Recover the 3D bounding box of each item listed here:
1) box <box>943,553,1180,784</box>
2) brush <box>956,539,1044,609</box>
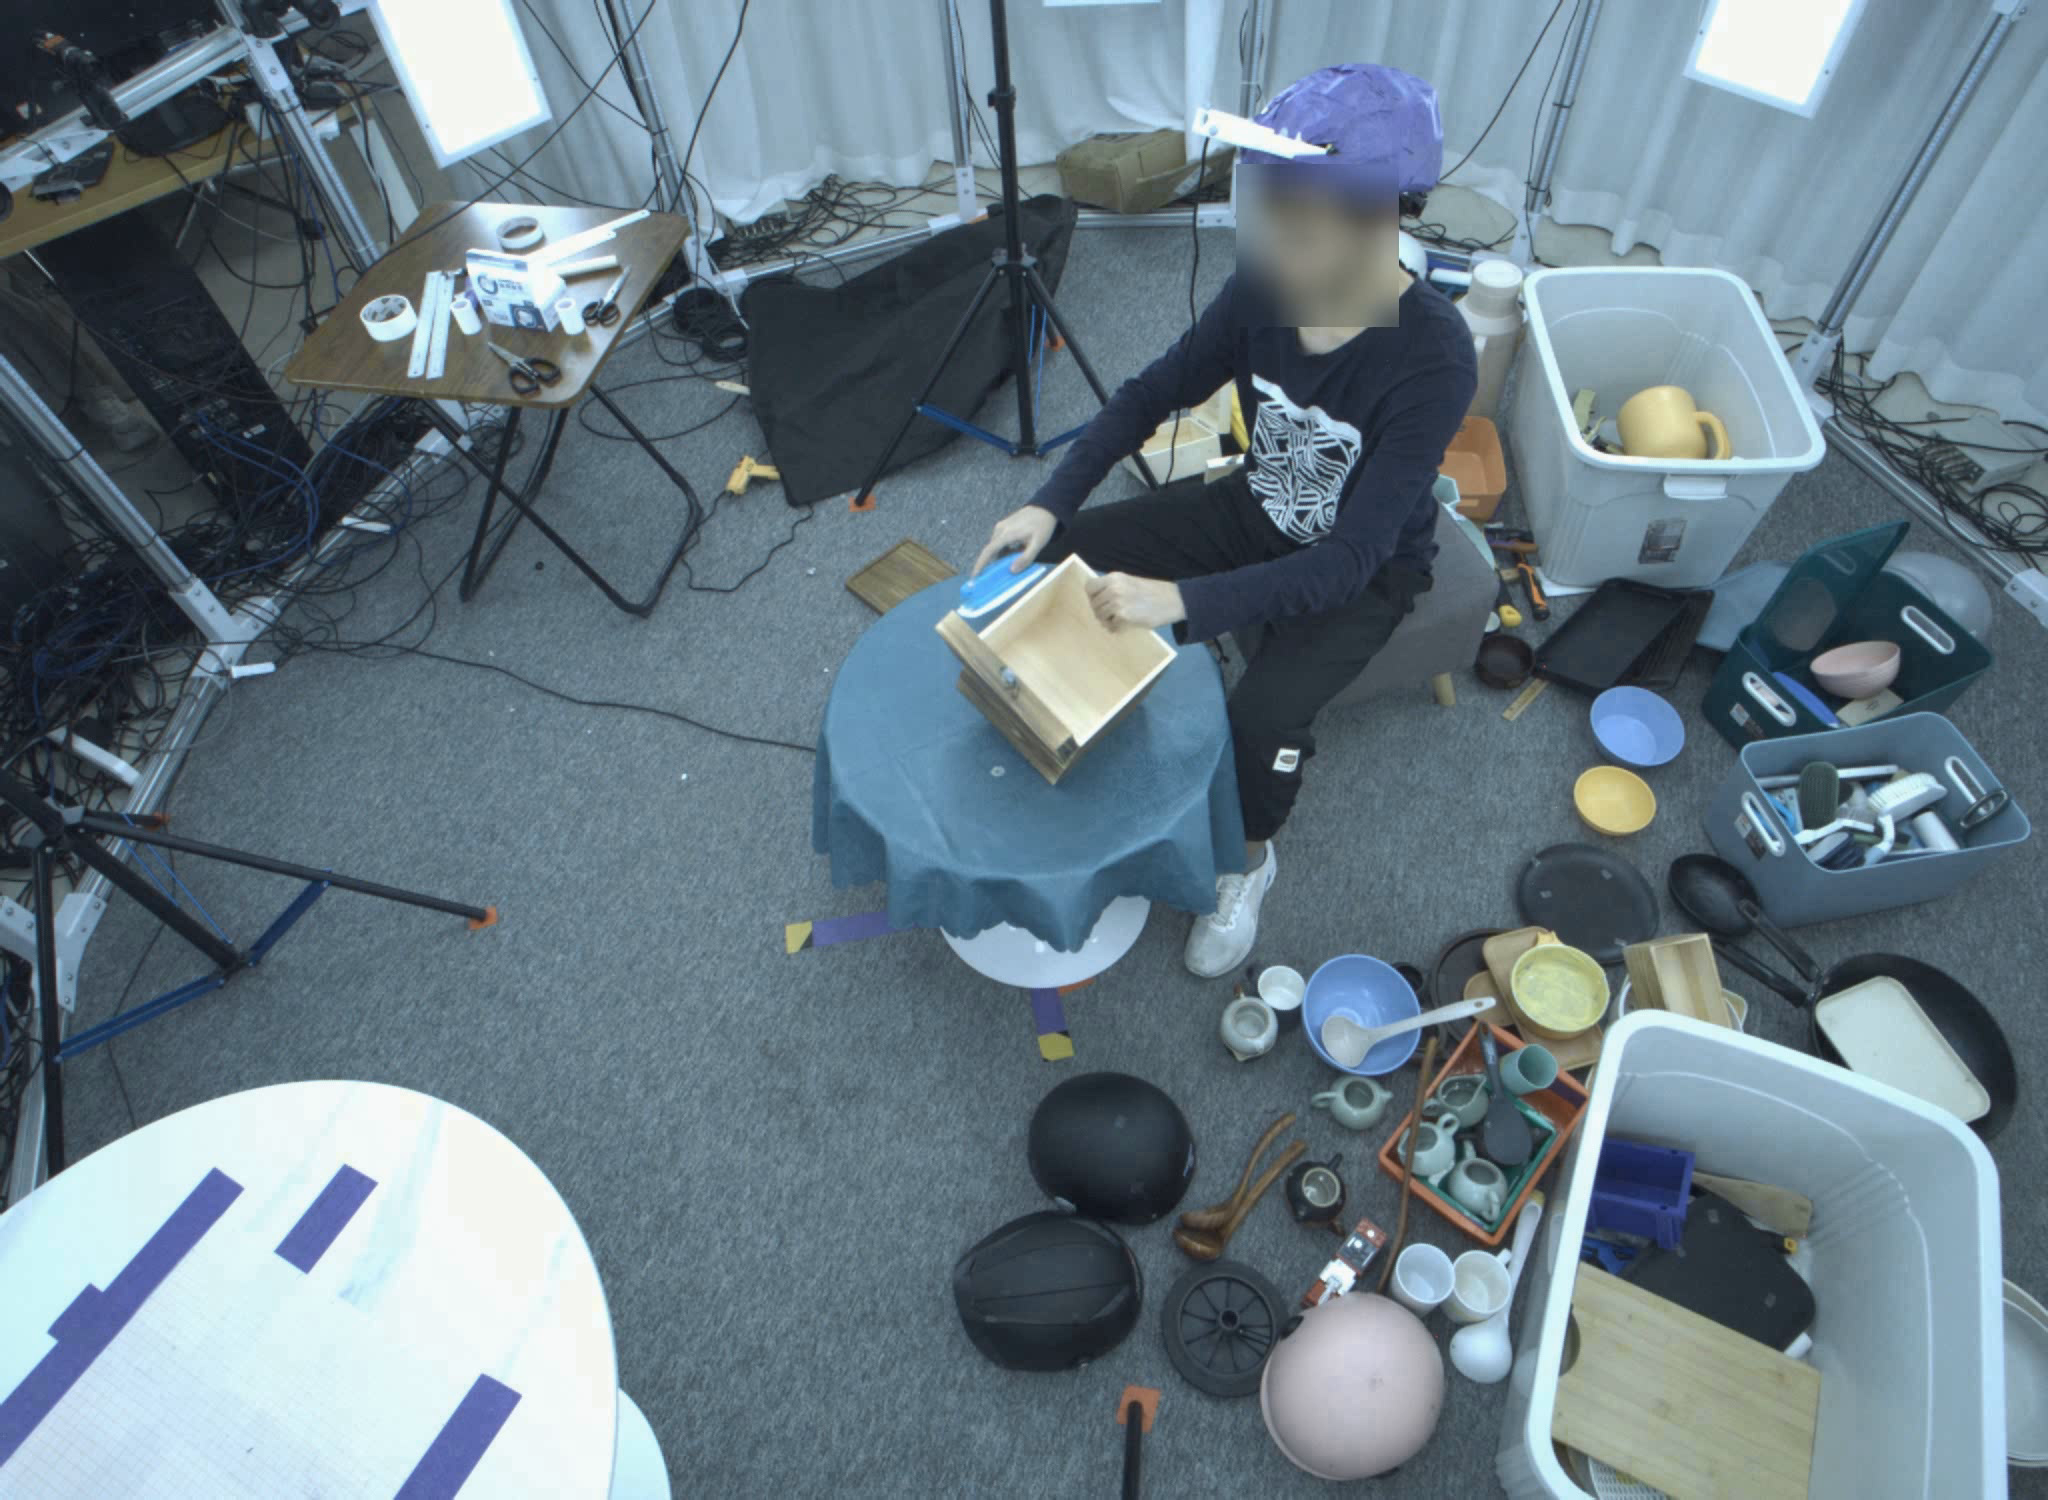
[{"bbox_3d":[0.041,-0.107,1.600,0.208,0.374,0.324,45,68,5],"label":"box"},{"bbox_3d":[-0.043,-0.271,1.850,0.144,0.057,0.082,-41,28,-16],"label":"brush"}]
